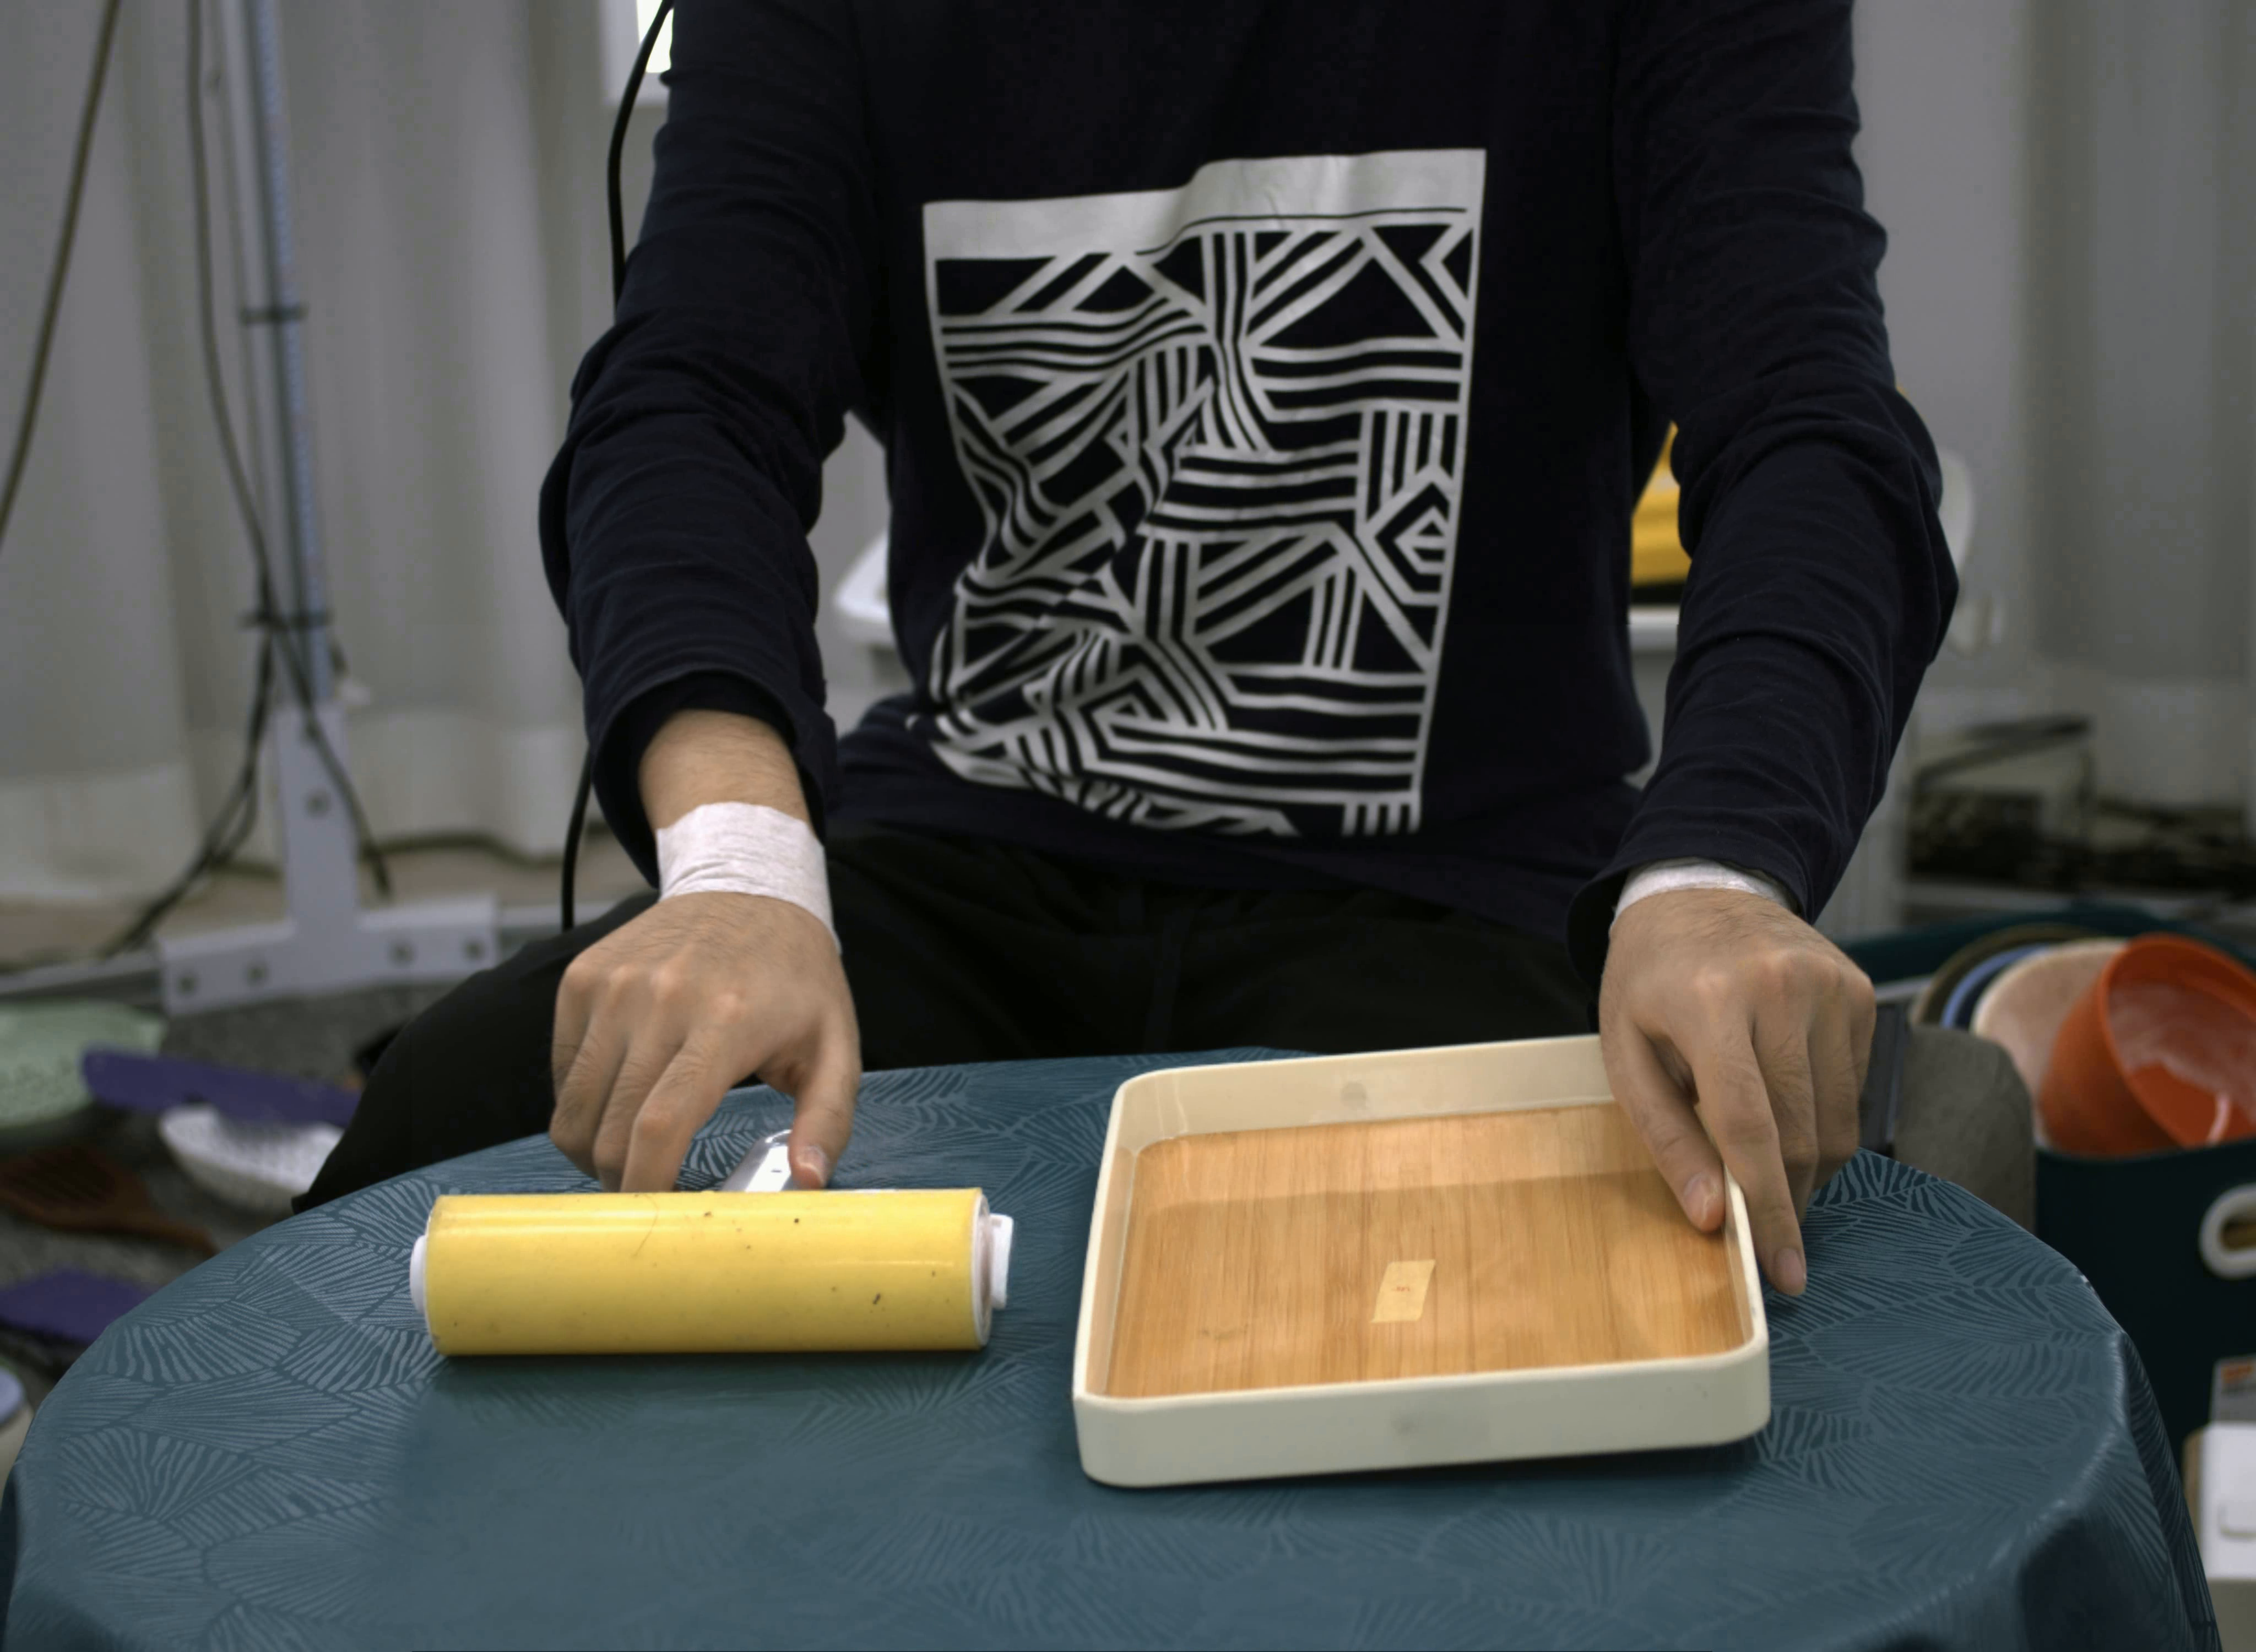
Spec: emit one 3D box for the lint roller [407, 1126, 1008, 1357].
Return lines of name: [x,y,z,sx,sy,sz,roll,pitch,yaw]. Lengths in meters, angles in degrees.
lint roller: [-0.118,0.111,1.659,0.174,0.051,0.193,-1,18,4]

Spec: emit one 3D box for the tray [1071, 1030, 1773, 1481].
tray: [0.086,0.122,1.603,0.191,0.027,0.302,-5,14,4]
